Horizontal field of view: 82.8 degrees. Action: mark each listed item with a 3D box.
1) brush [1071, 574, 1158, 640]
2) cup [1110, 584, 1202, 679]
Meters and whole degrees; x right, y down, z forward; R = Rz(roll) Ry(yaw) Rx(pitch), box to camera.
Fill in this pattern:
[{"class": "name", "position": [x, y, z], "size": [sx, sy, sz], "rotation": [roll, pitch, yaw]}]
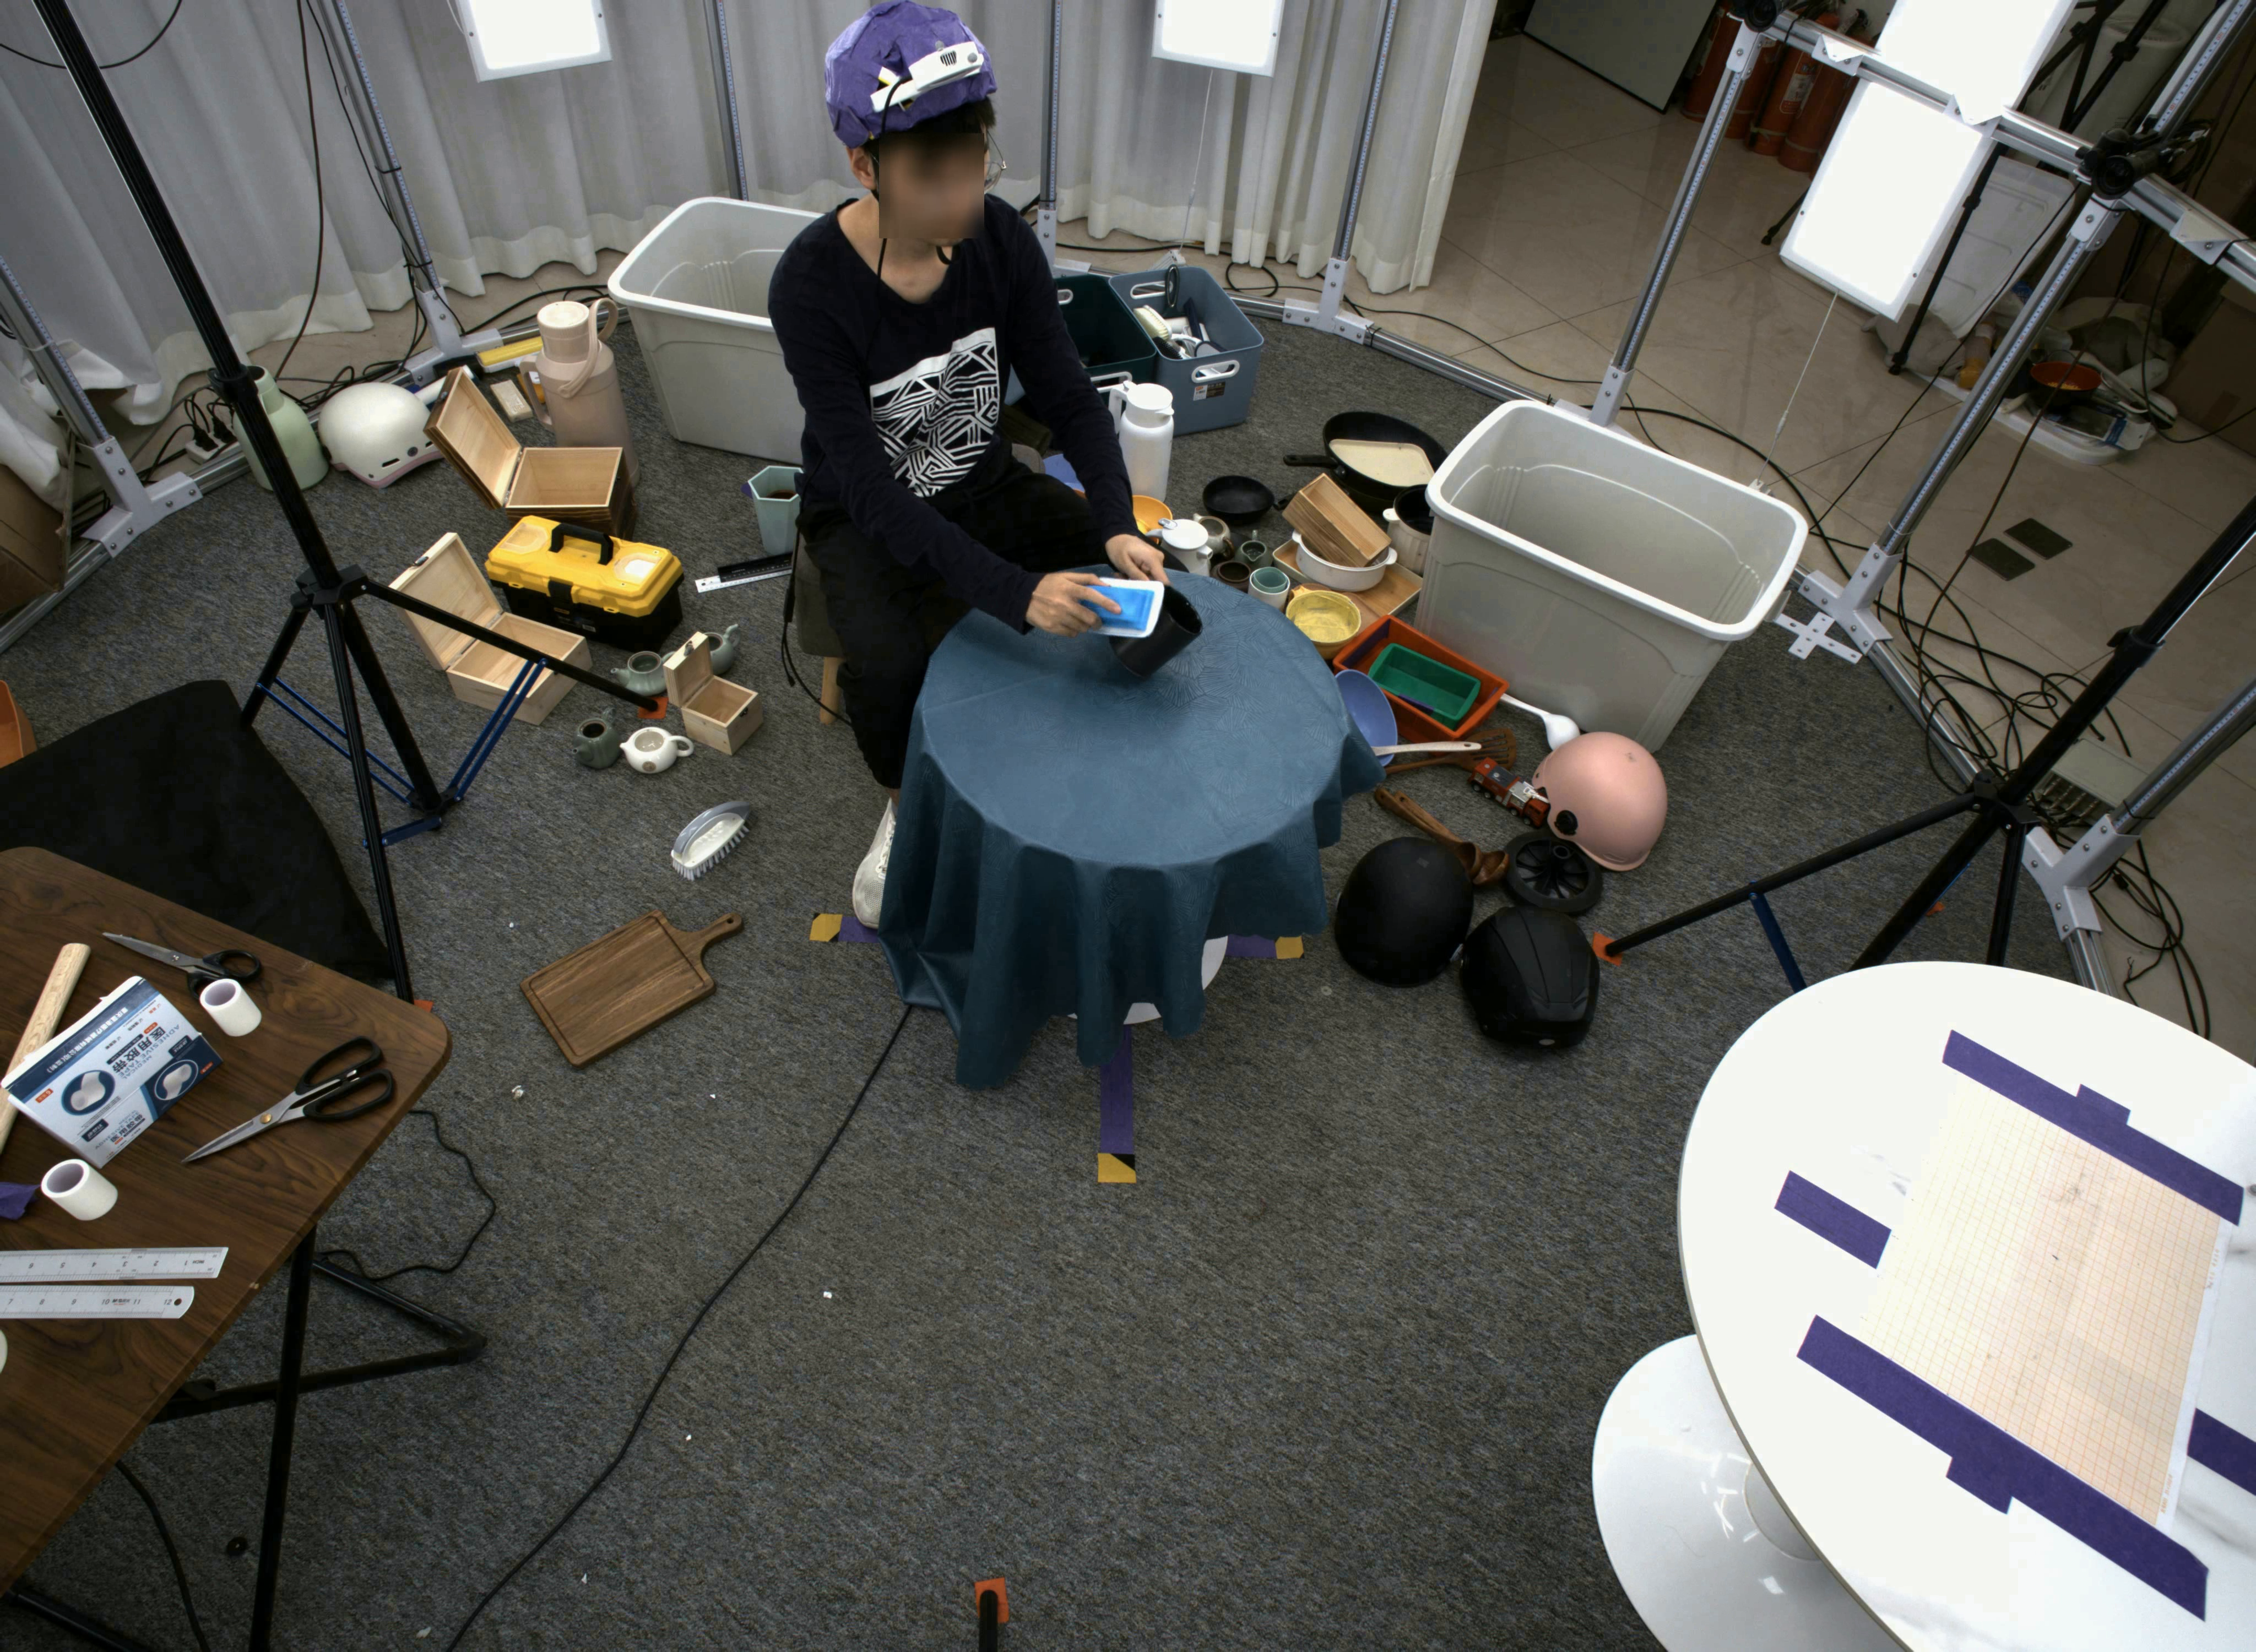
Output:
[{"class": "brush", "position": [-0.027, -0.308, 1.785], "size": [0.145, 0.084, 0.055], "rotation": [19, 1, 41]}, {"class": "cup", "position": [0.032, -0.287, 1.821], "size": [0.088, 0.104, 0.126], "rotation": [4, 51, -48]}]
